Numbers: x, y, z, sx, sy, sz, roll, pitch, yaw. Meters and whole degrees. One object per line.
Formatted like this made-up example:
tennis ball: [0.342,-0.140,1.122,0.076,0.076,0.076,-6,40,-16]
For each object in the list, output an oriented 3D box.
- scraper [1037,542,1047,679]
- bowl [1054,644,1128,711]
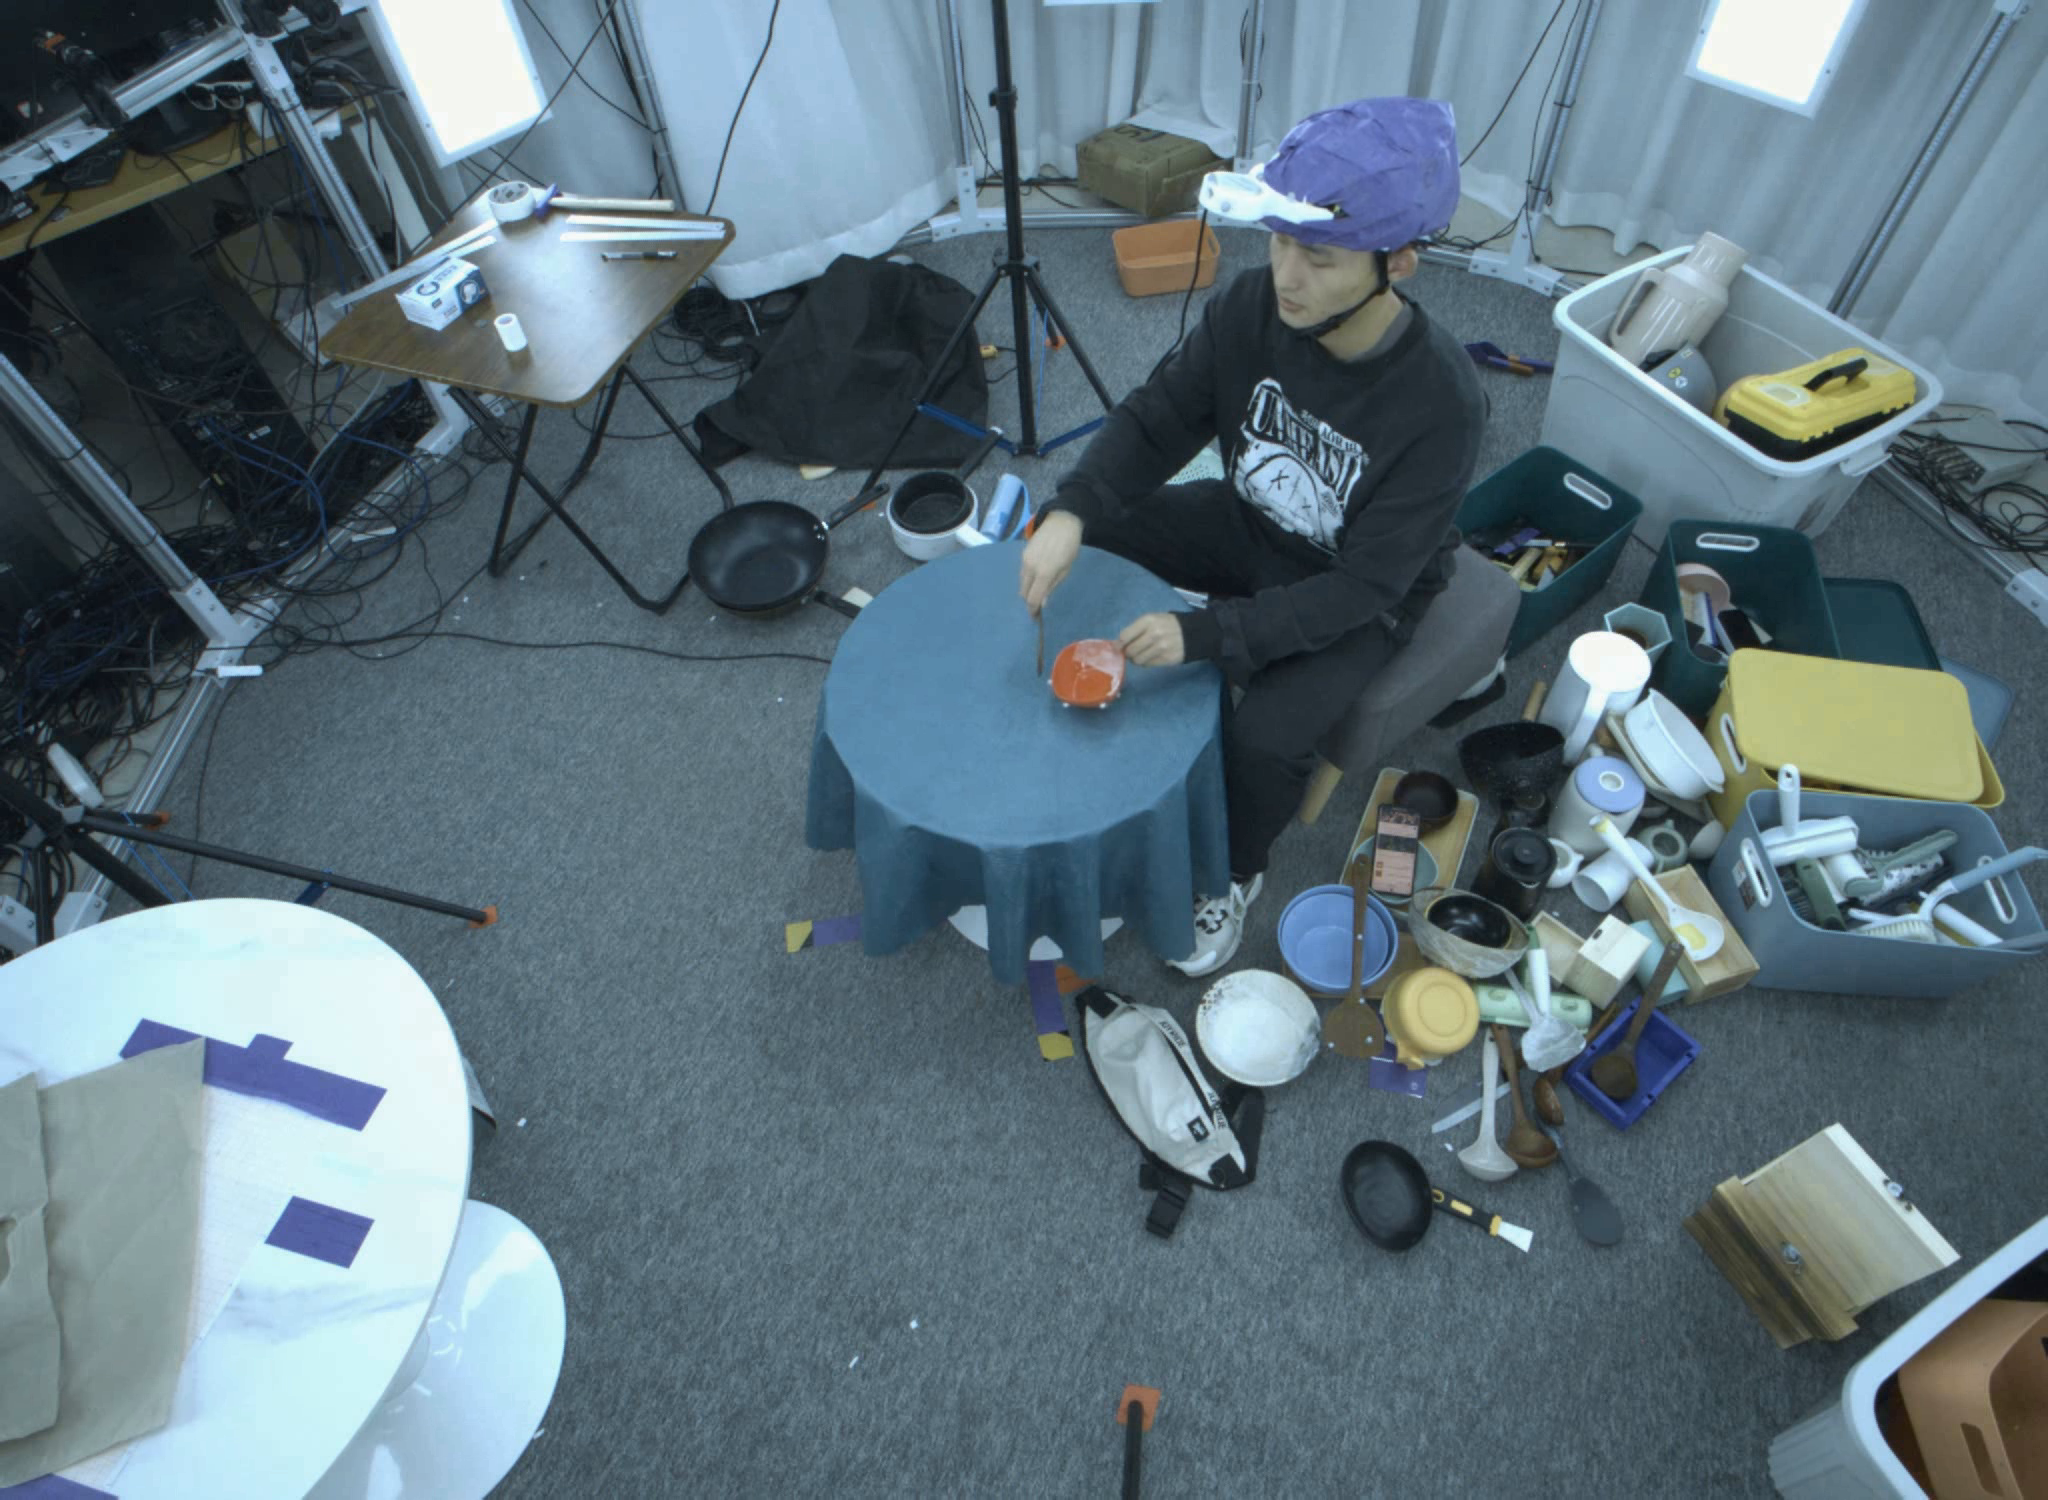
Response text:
scraper: [0.025,-0.210,1.810,0.011,0.076,0.209,-2,71,0]
bowl: [0.104,-0.099,1.824,0.118,0.052,0.118,-9,56,15]
